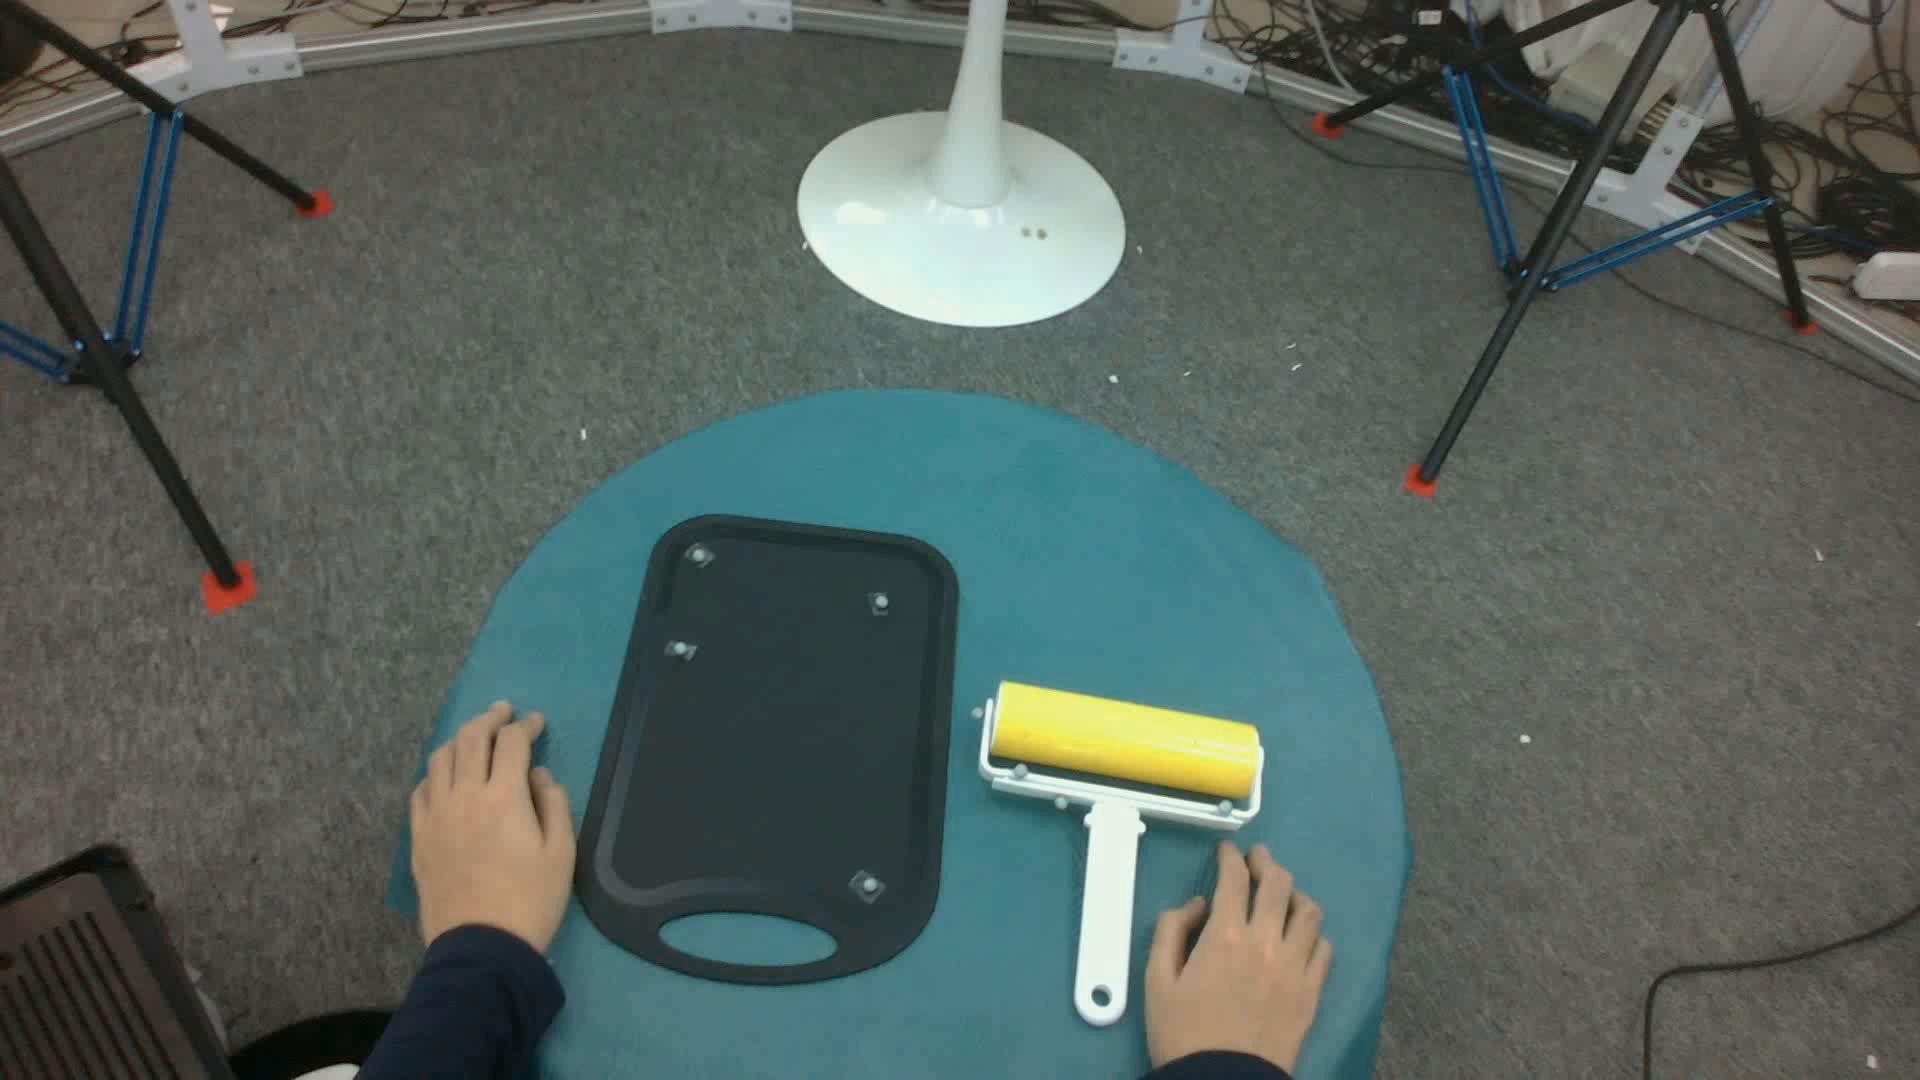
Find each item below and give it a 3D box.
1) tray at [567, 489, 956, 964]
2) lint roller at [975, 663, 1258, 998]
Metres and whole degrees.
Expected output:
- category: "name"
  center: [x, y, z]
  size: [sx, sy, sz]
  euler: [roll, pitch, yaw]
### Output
- category: "tray"
  center: [-0.113, 0.102, 0.854]
  size: [0.211, 0.010, 0.327]
  euler: [7, 53, -3]
- category: "lint roller"
  center: [0.090, 0.167, 0.810]
  size: [0.174, 0.051, 0.193]
  euler: [9, 49, -1]
